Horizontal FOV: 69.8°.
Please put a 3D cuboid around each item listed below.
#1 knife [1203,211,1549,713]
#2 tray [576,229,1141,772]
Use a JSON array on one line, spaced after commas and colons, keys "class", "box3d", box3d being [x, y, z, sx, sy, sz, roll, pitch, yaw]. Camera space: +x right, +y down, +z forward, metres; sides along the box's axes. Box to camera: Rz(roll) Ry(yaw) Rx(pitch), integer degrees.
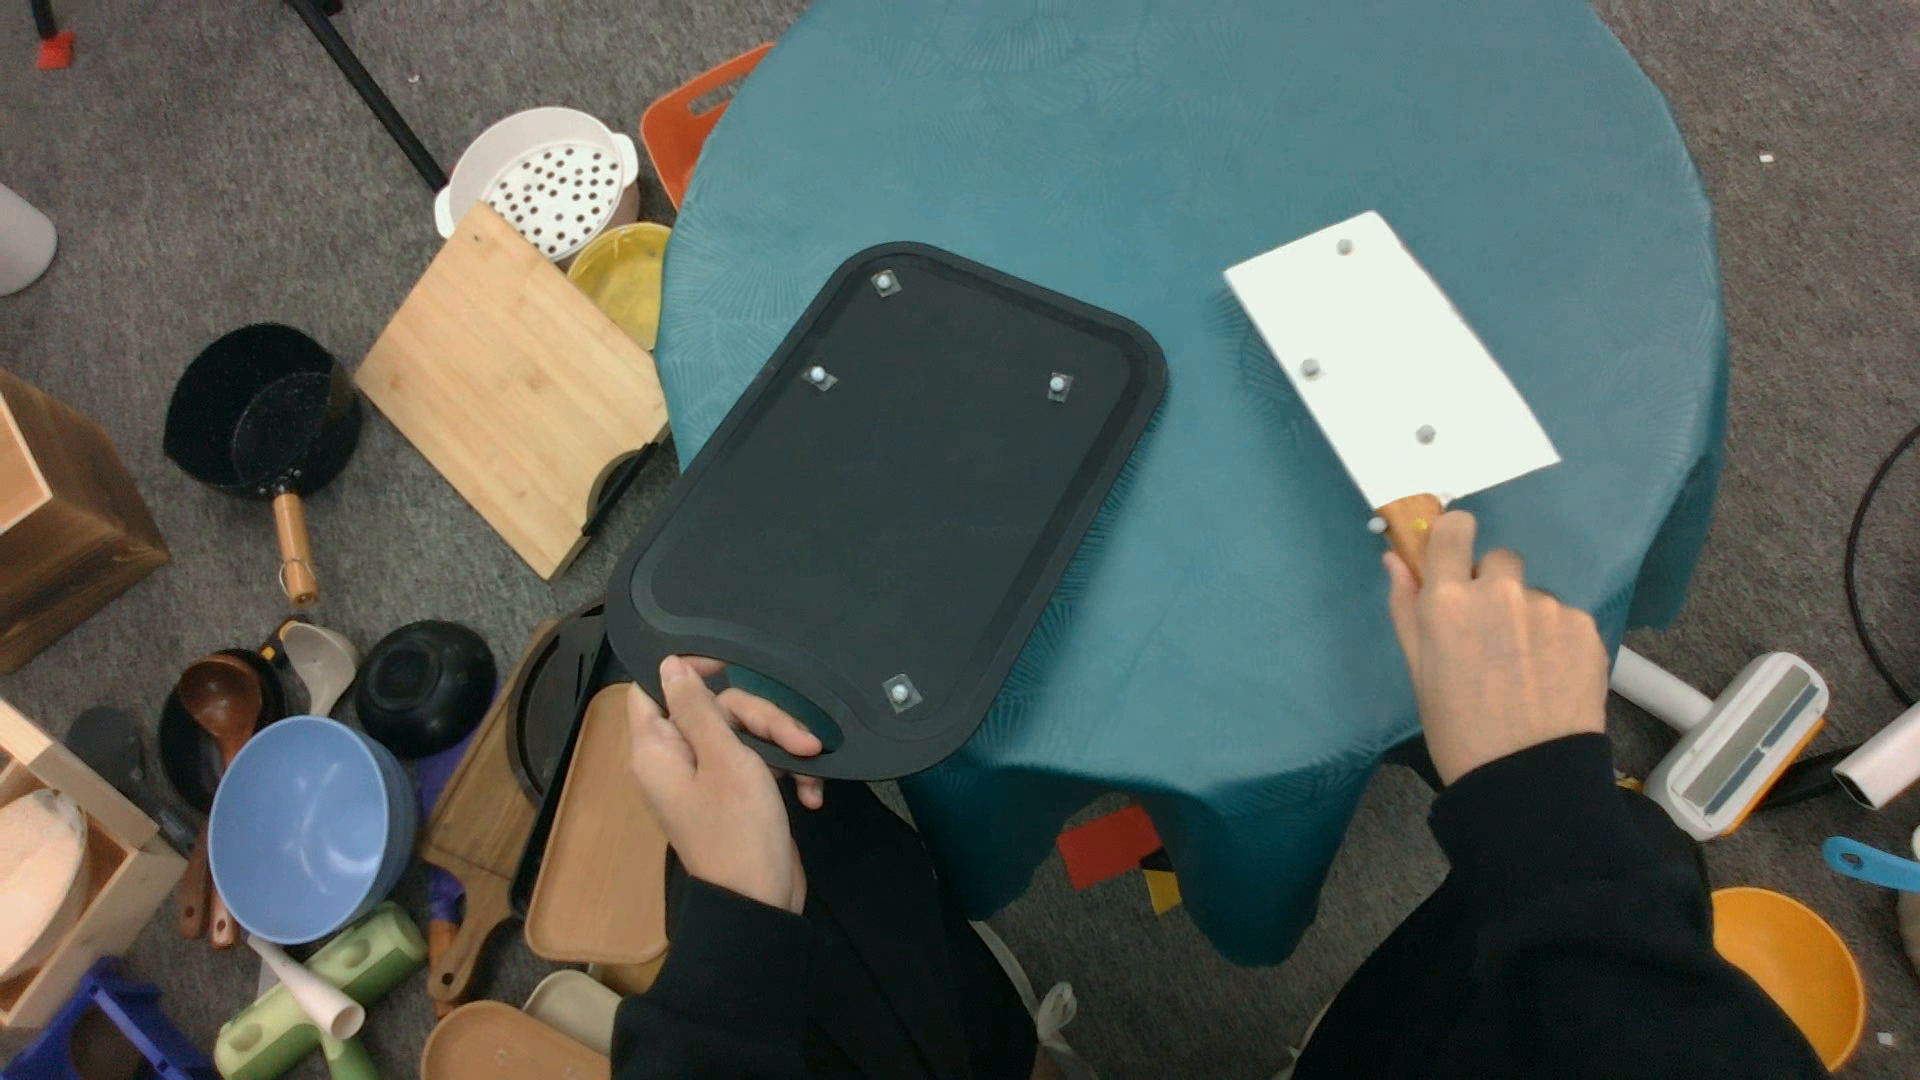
[{"class": "knife", "box3d": [0.218, -0.057, 0.678, 0.093, 0.021, 0.307, -21, 55, 0]}, {"class": "tray", "box3d": [-0.050, -0.033, 0.723, 0.211, 0.010, 0.327, 24, 62, 15]}]
